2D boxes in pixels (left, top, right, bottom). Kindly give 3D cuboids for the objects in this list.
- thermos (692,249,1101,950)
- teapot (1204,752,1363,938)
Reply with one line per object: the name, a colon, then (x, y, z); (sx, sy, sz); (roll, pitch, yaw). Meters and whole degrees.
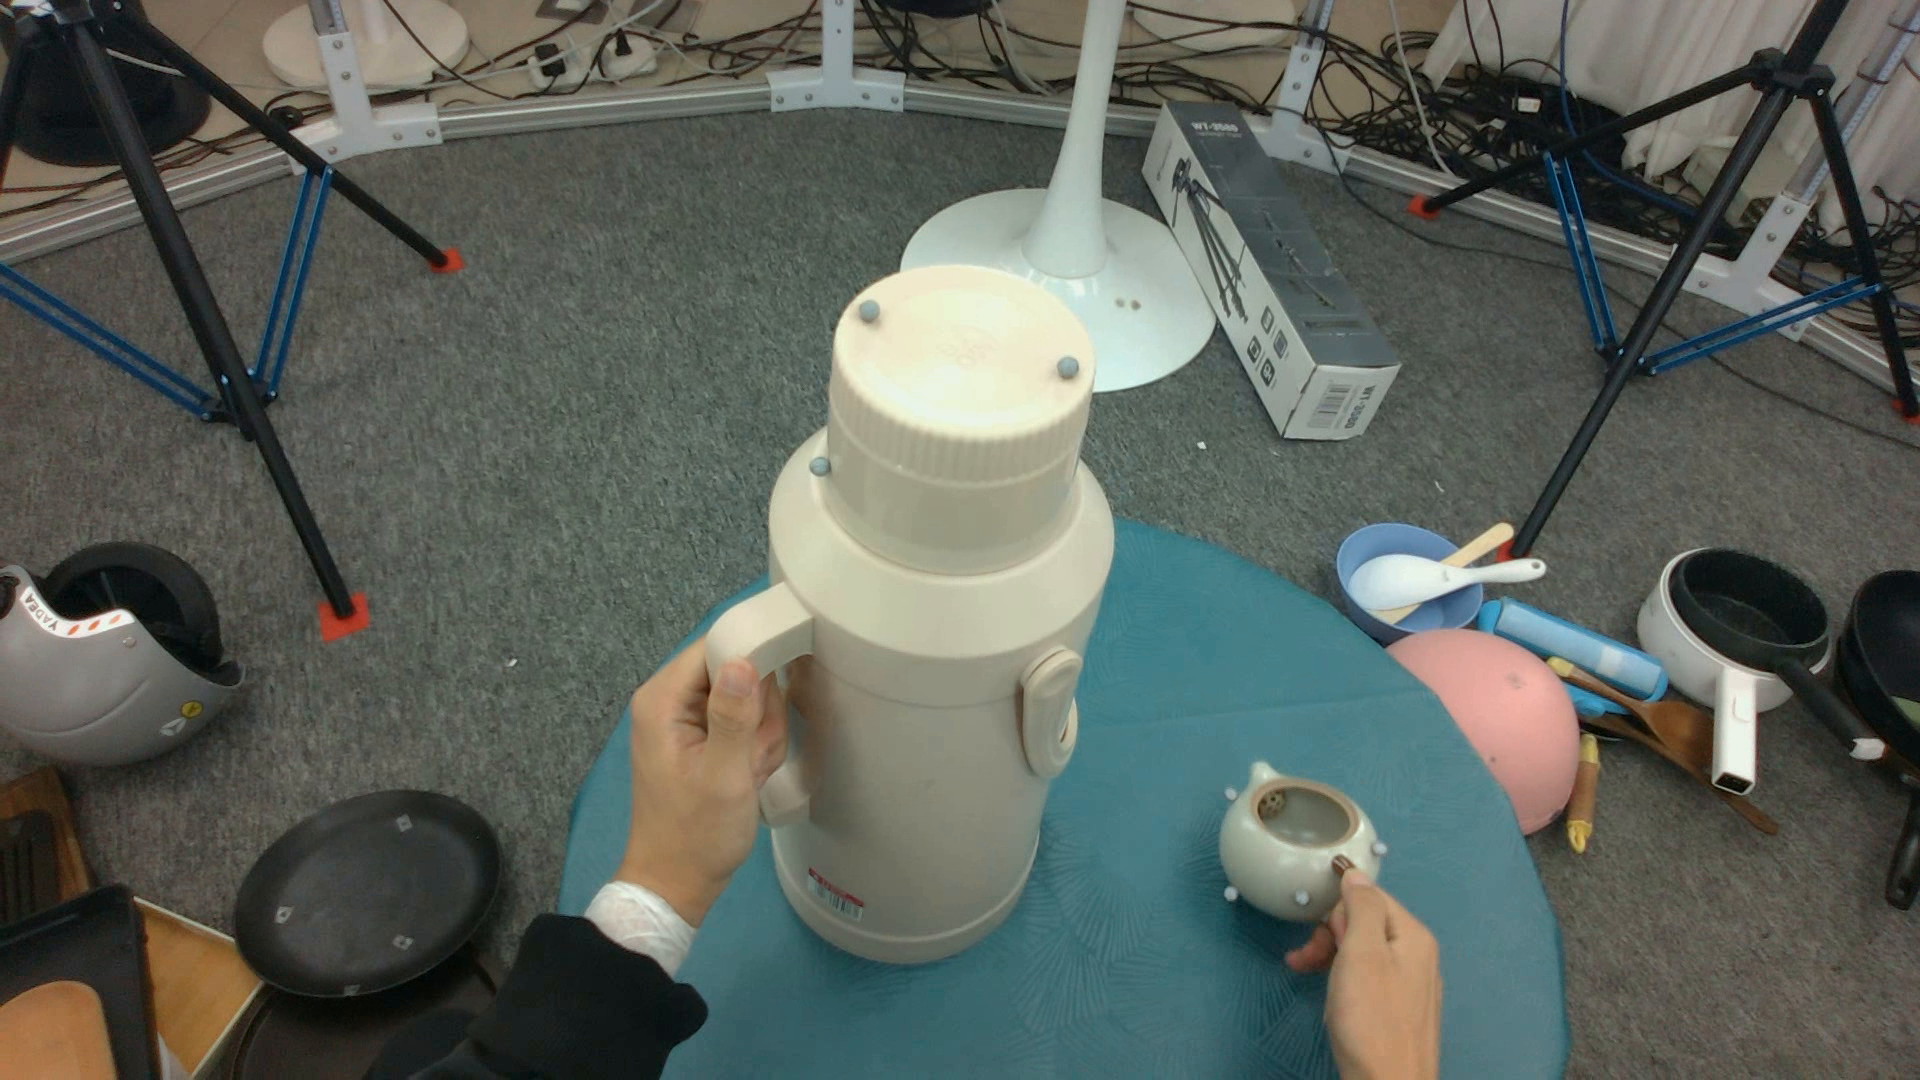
thermos: (-0.036, 0.052, 0.684); (0.208, 0.404, 0.175); (-28, 59, -29)
teapot: (0.194, 0.180, 0.807); (0.092, 0.059, 0.128); (-8, 29, -20)
